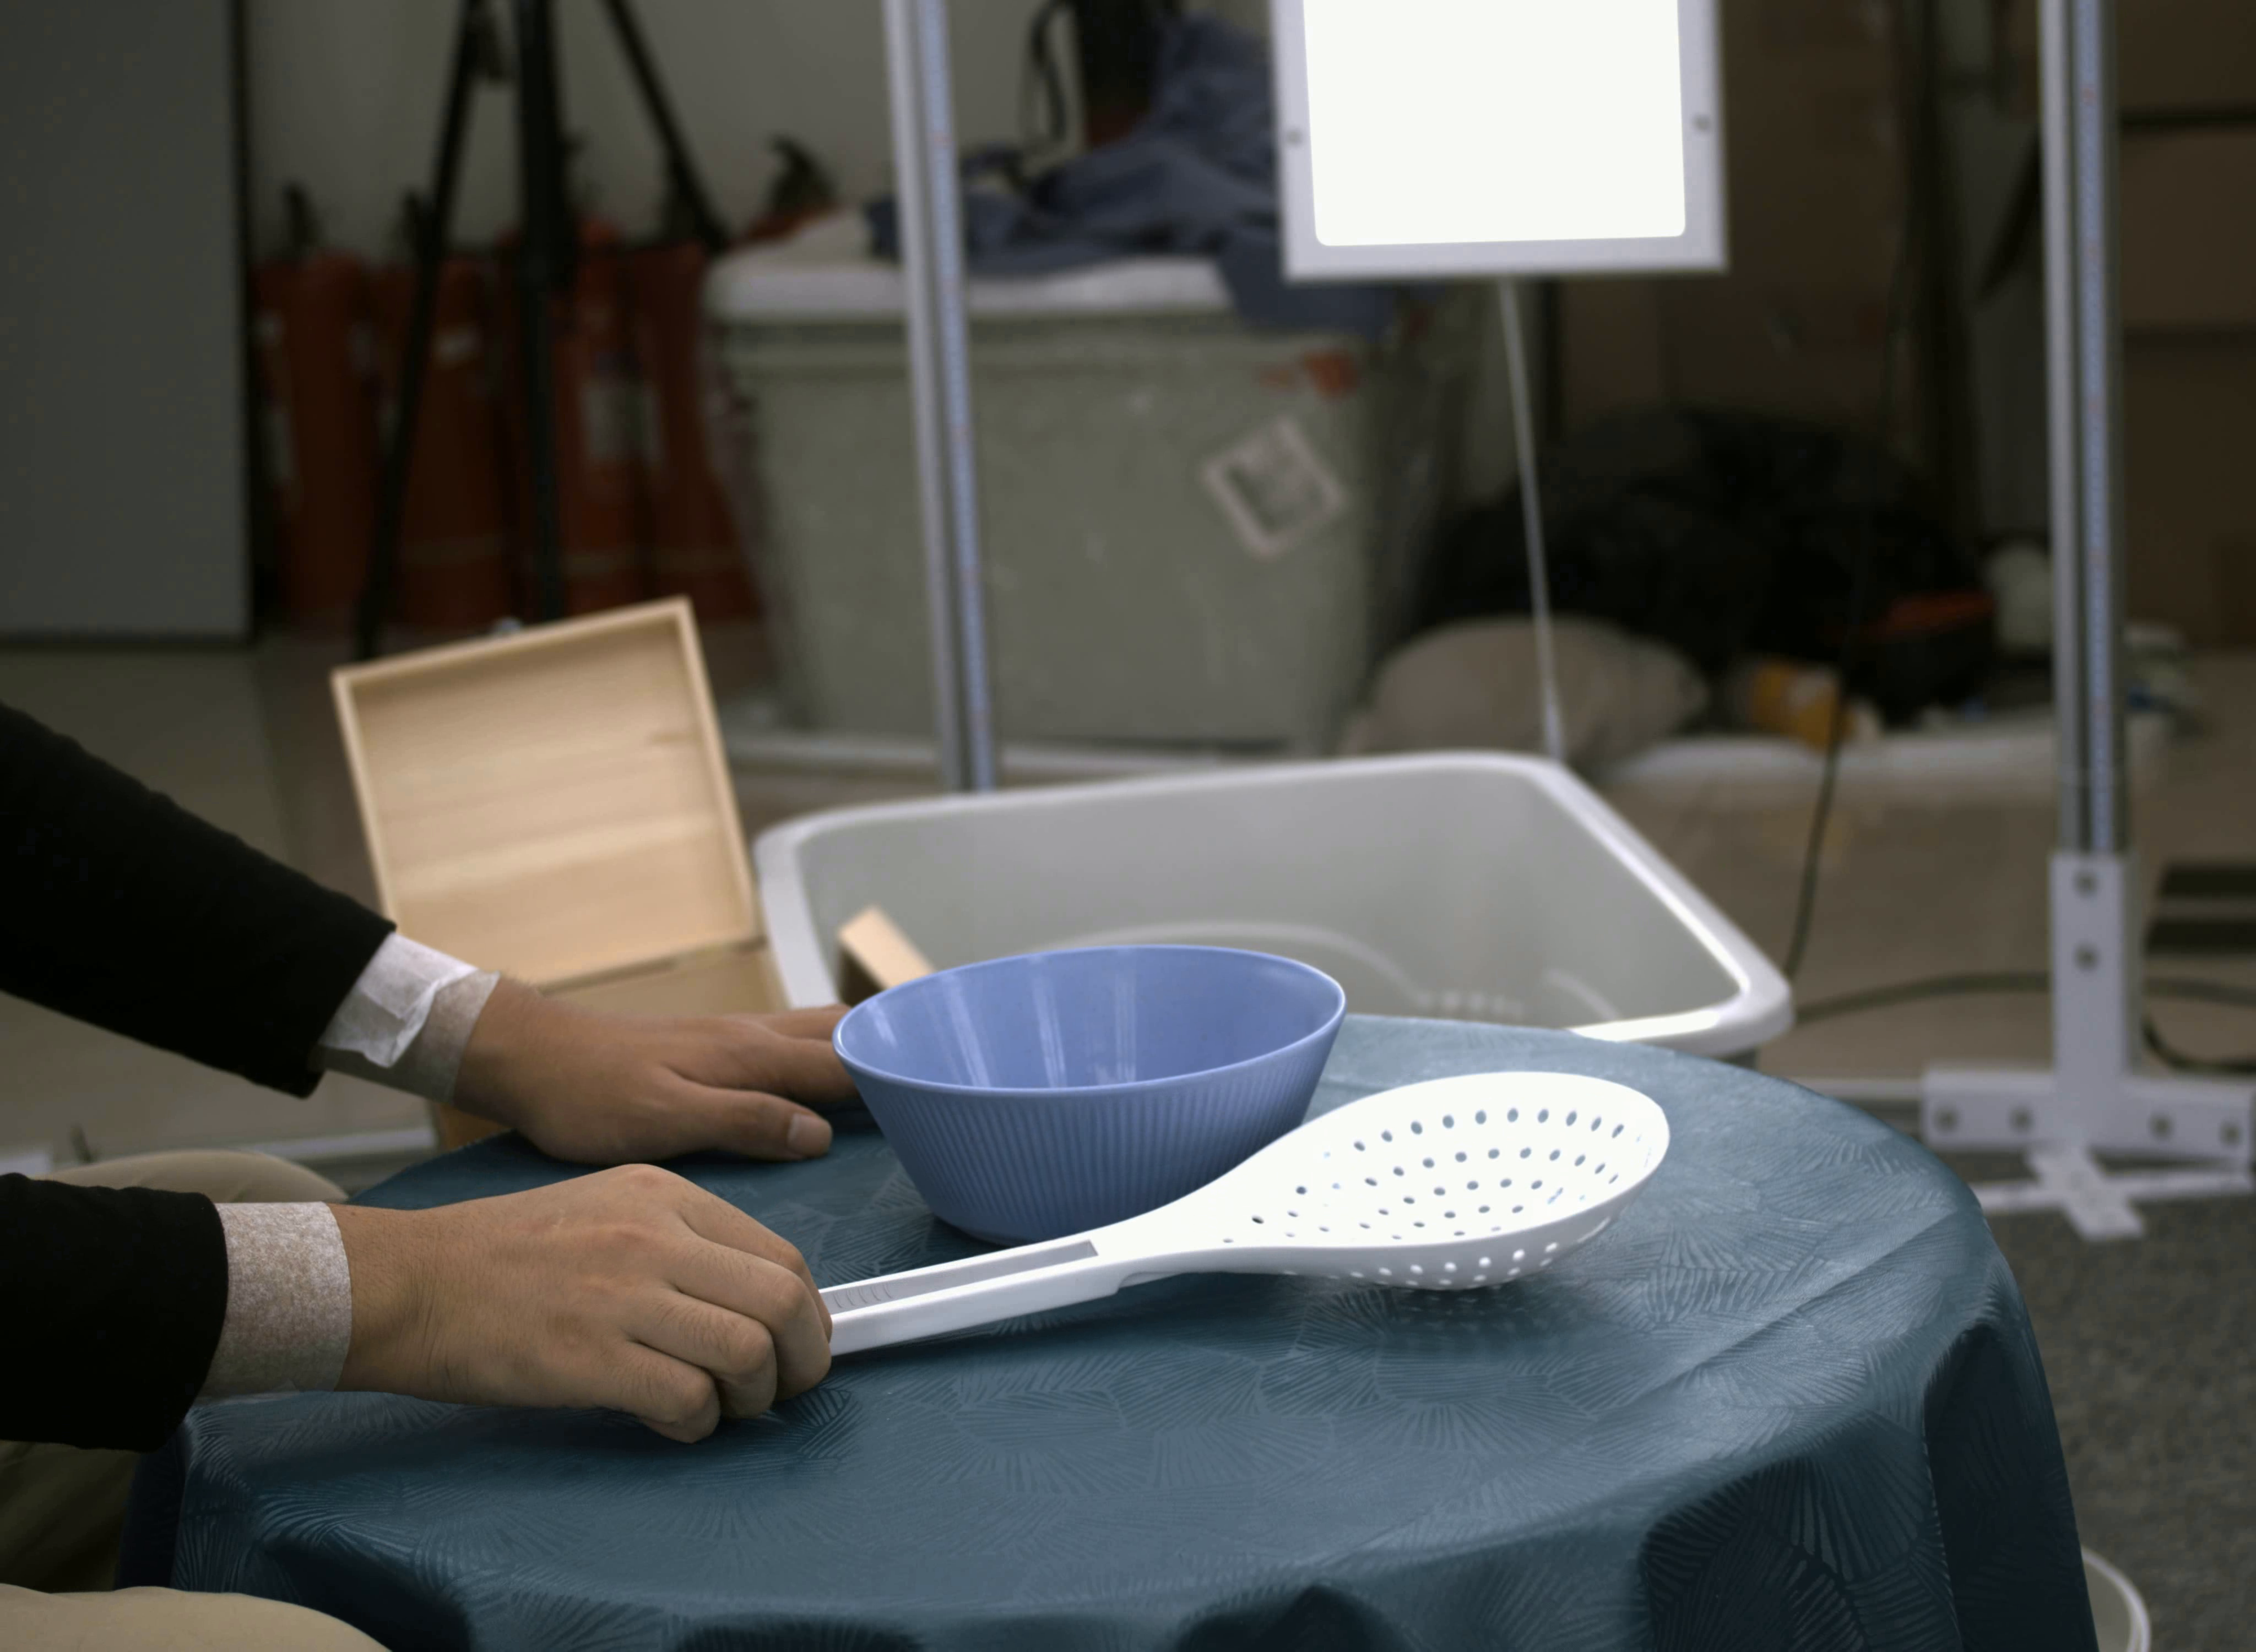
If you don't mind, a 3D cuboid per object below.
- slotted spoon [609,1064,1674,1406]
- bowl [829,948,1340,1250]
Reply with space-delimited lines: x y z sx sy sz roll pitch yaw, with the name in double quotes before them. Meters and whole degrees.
"slotted spoon" 0.006 0.136 1.761 0.346 0.046 0.137 -8 20 -9
"bowl" -0.012 0.096 1.882 0.175 0.070 0.176 -6 14 0
